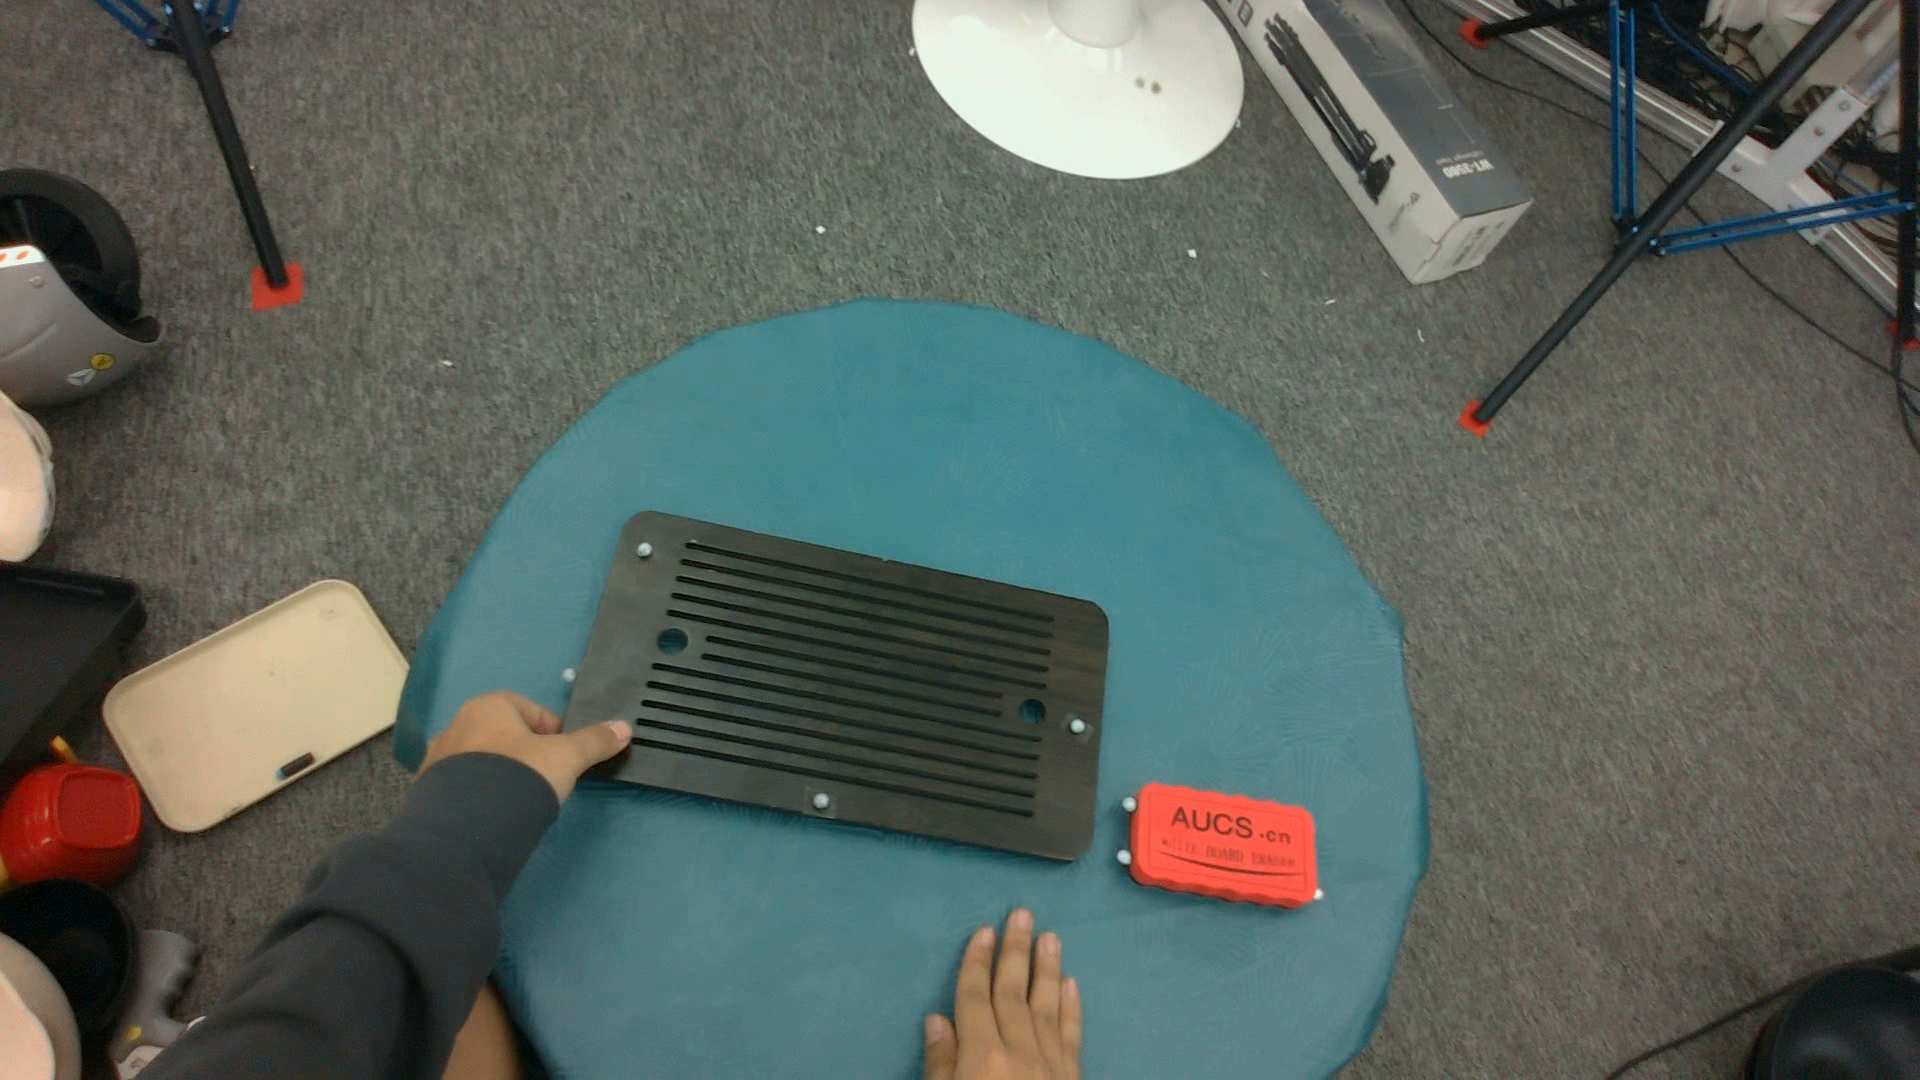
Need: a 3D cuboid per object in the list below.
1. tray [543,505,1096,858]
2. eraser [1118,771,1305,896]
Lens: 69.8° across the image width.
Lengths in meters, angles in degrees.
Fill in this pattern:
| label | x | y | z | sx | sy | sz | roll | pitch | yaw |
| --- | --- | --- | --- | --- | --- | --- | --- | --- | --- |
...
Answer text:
| label | x | y | z | sx | sy | sz | roll | pitch | yaw |
| --- | --- | --- | --- | --- | --- | --- | --- | --- | --- |
| tray | -0.072 | 0.082 | 0.807 | 0.306 | 0.018 | 0.171 | 12 | 58 | -8 |
| eraser | 0.147 | 0.172 | 0.805 | 0.108 | 0.023 | 0.059 | 11 | 59 | -10 |
